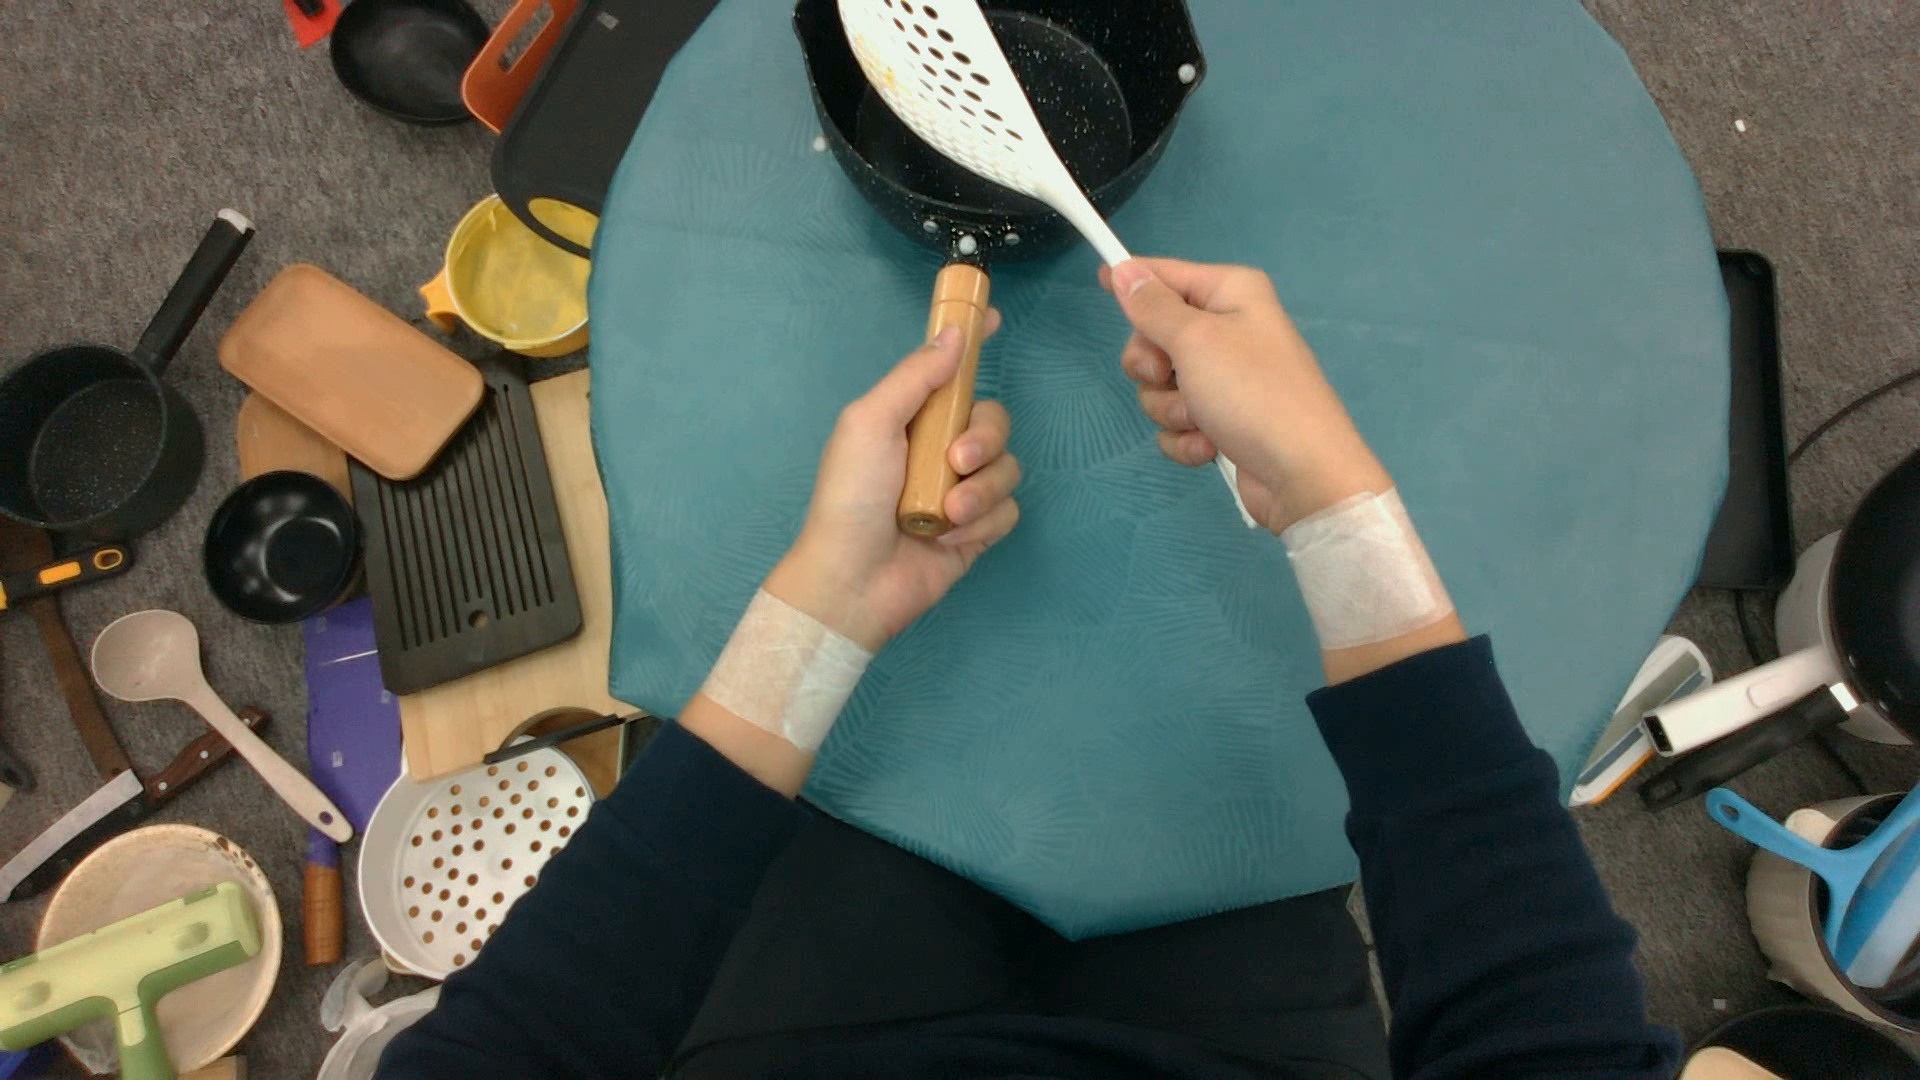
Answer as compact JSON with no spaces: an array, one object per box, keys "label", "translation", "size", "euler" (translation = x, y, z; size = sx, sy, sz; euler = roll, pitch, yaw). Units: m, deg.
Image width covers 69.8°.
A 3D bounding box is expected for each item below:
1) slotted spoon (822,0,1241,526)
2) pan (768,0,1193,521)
[{"label":"slotted spoon","translation":[0.029,-0.153,0.608],"size":[0.050,0.136,0.348],"euler":[-35,74,-13]},{"label":"pan","translation":[0.001,-0.160,0.667],"size":[0.207,0.108,0.343],"euler":[7,73,0]}]
